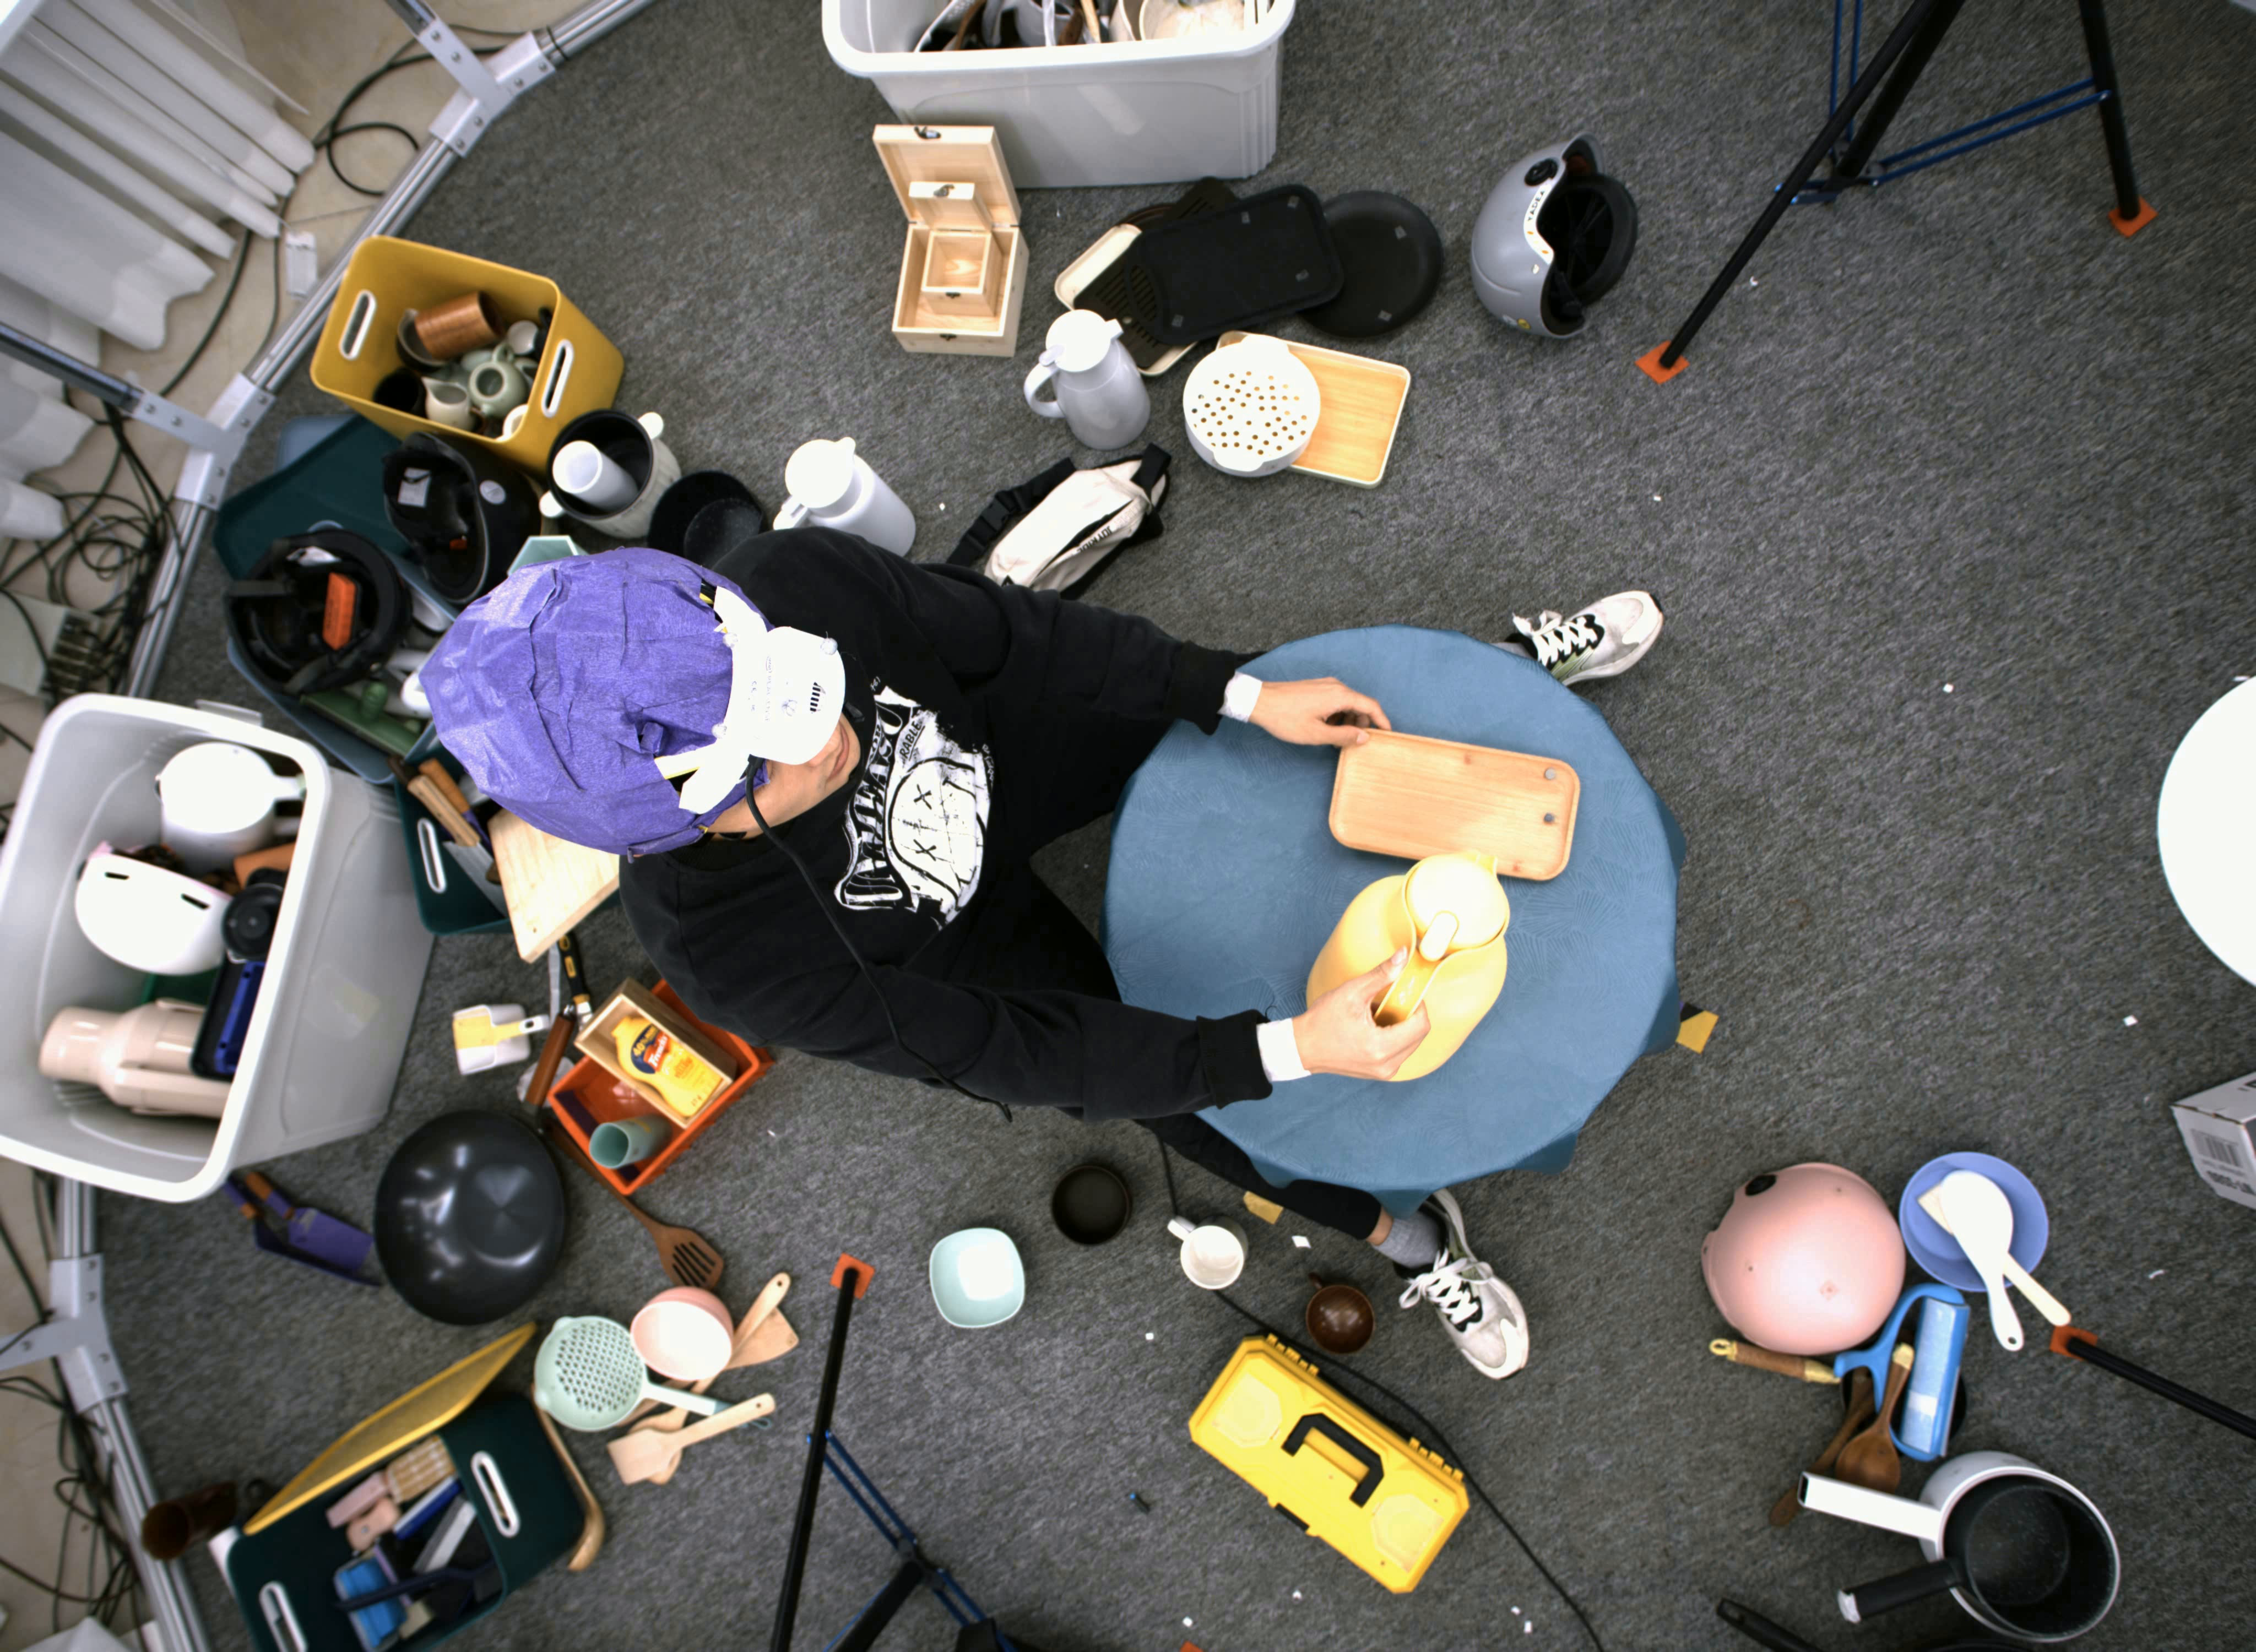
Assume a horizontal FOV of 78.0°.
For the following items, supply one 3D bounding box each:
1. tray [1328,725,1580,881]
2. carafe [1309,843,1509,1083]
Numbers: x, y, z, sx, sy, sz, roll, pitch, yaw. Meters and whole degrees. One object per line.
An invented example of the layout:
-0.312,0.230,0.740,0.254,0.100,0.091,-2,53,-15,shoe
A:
0.338,-0.025,1.428,0.251,0.023,0.130,11,89,5,tray
0.261,0.139,1.292,0.163,0.266,0.198,31,60,13,carafe
